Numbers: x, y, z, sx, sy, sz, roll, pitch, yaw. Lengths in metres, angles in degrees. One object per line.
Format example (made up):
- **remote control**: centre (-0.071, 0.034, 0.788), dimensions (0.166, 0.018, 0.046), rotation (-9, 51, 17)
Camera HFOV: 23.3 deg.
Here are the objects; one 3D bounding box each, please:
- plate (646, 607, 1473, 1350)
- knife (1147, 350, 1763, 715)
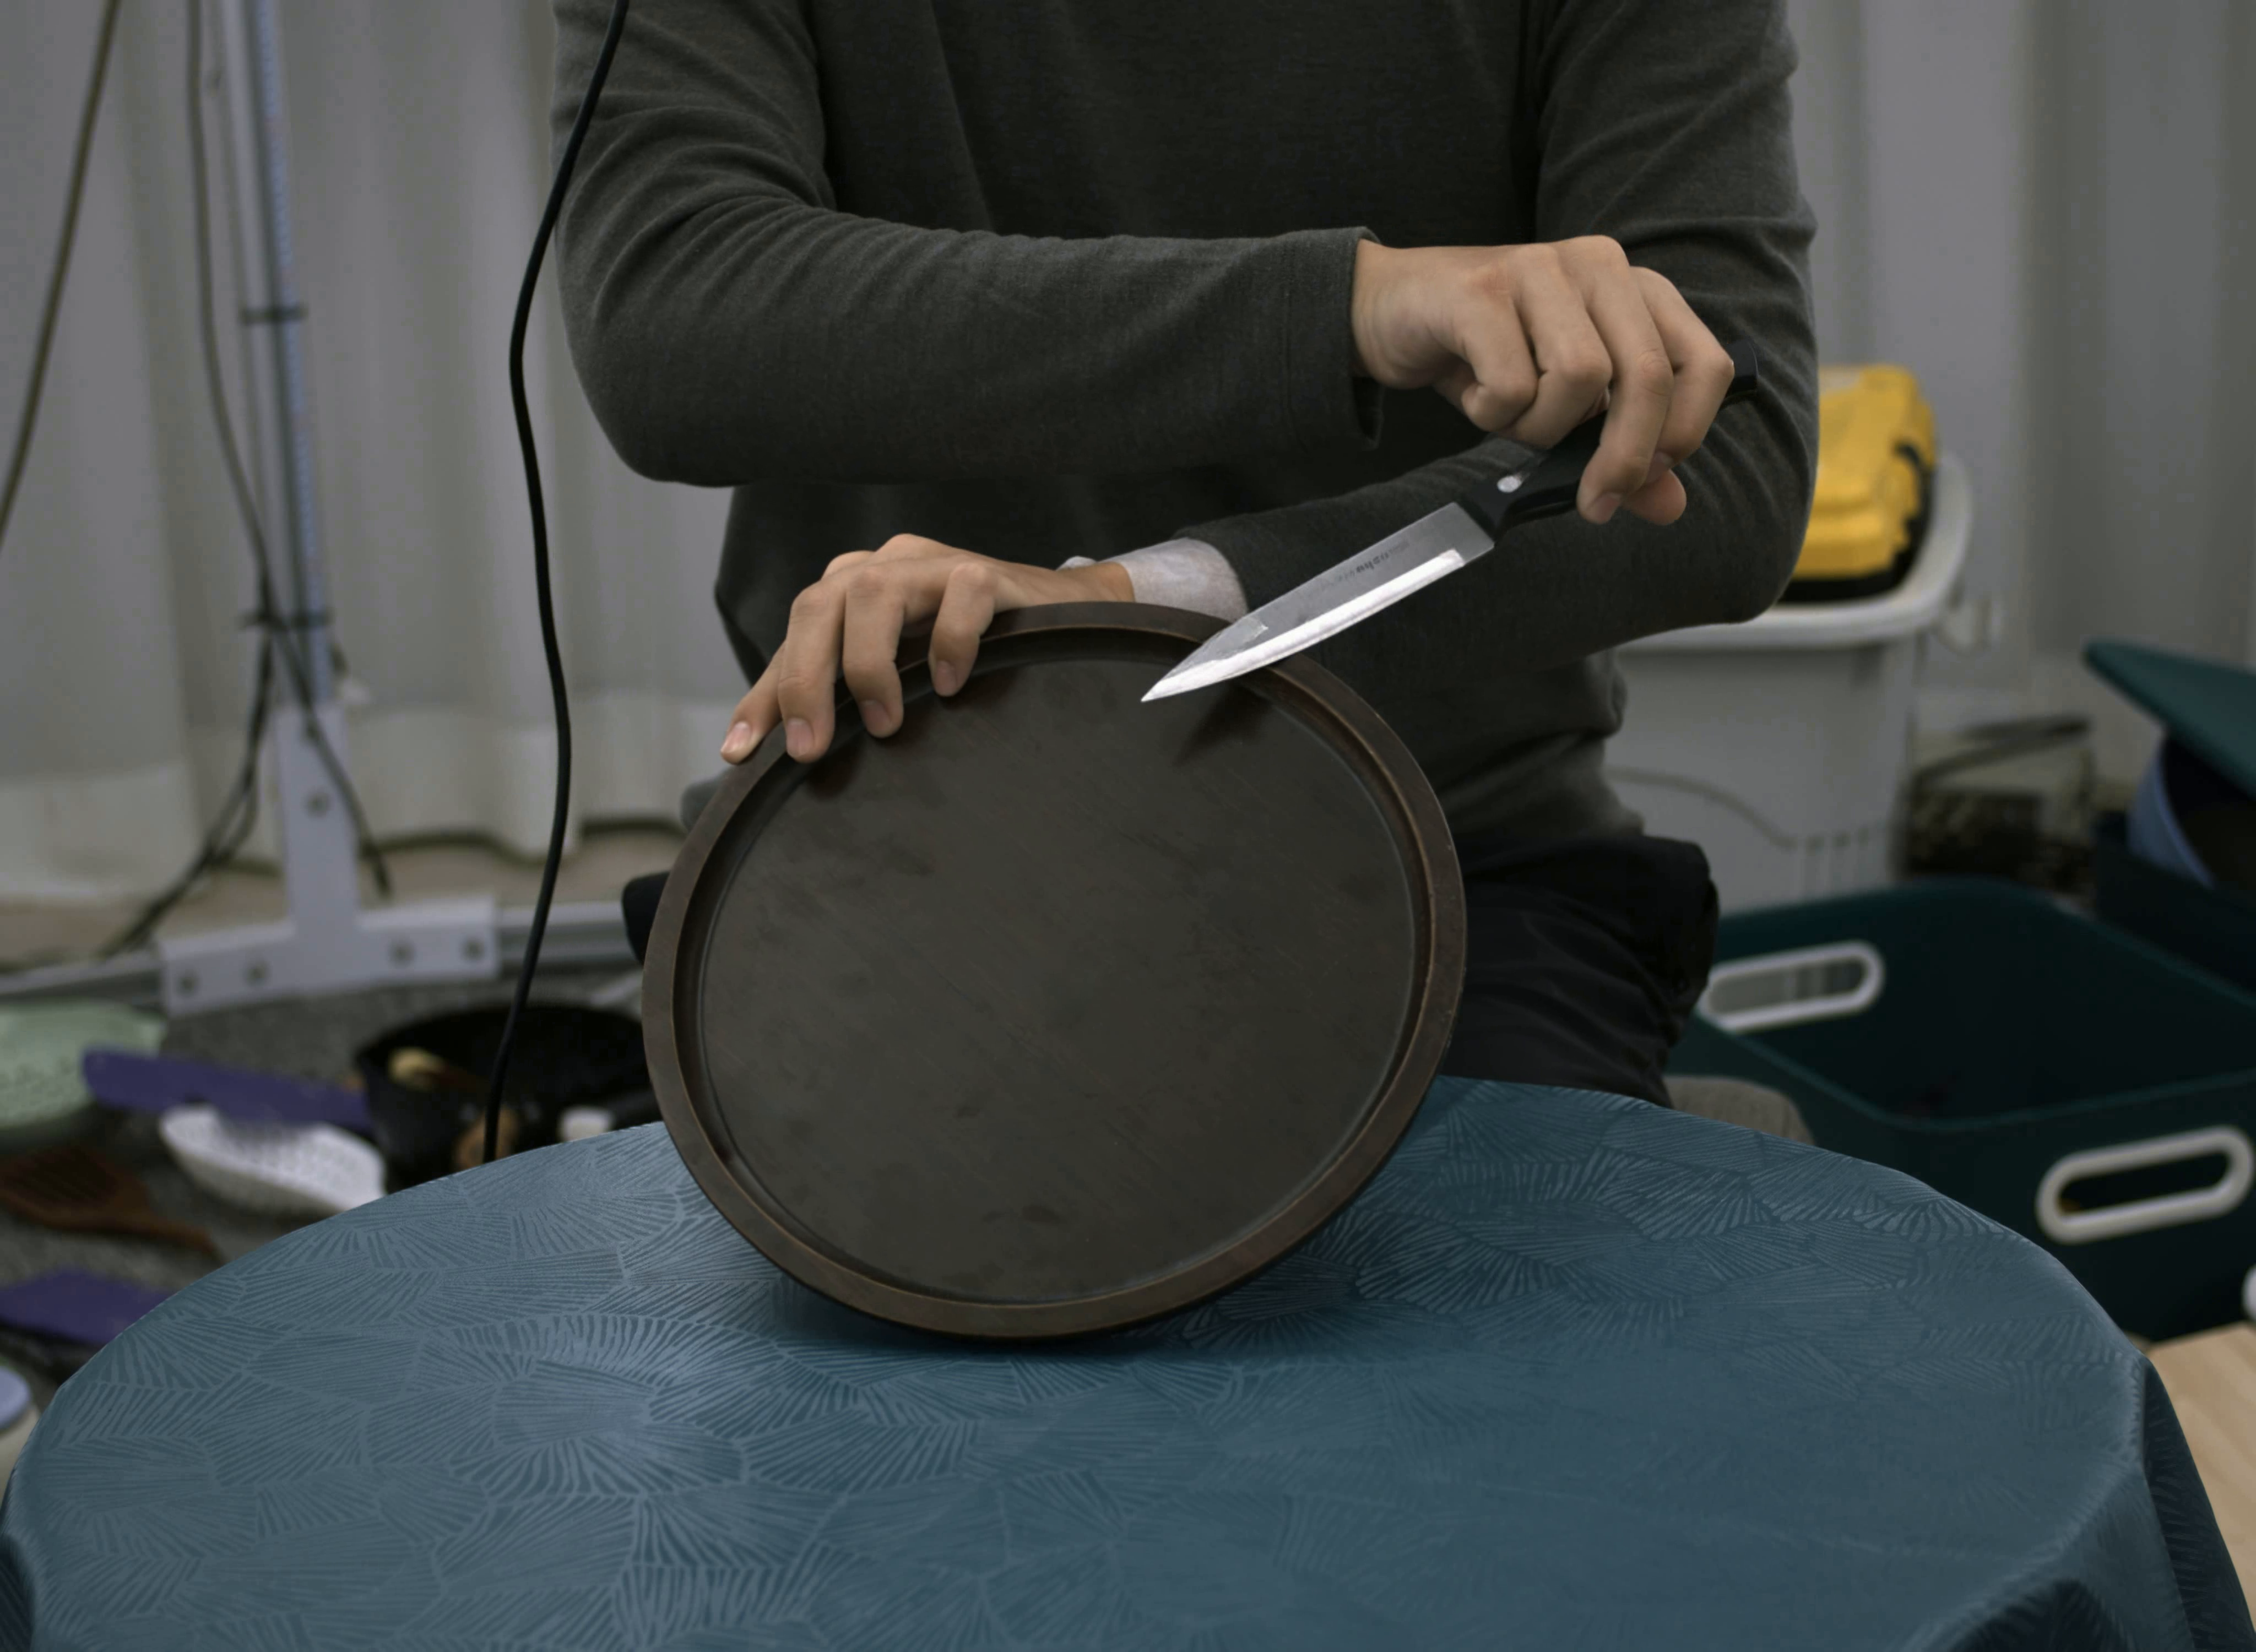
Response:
- **plate**: centre (-0.021, 0.044, 1.648), dimensions (0.254, 0.028, 0.258), rotation (-5, 58, 8)
- **knife**: centre (0.101, -0.092, 1.710), dimensions (0.238, 0.016, 0.025), rotation (-30, 63, -20)
